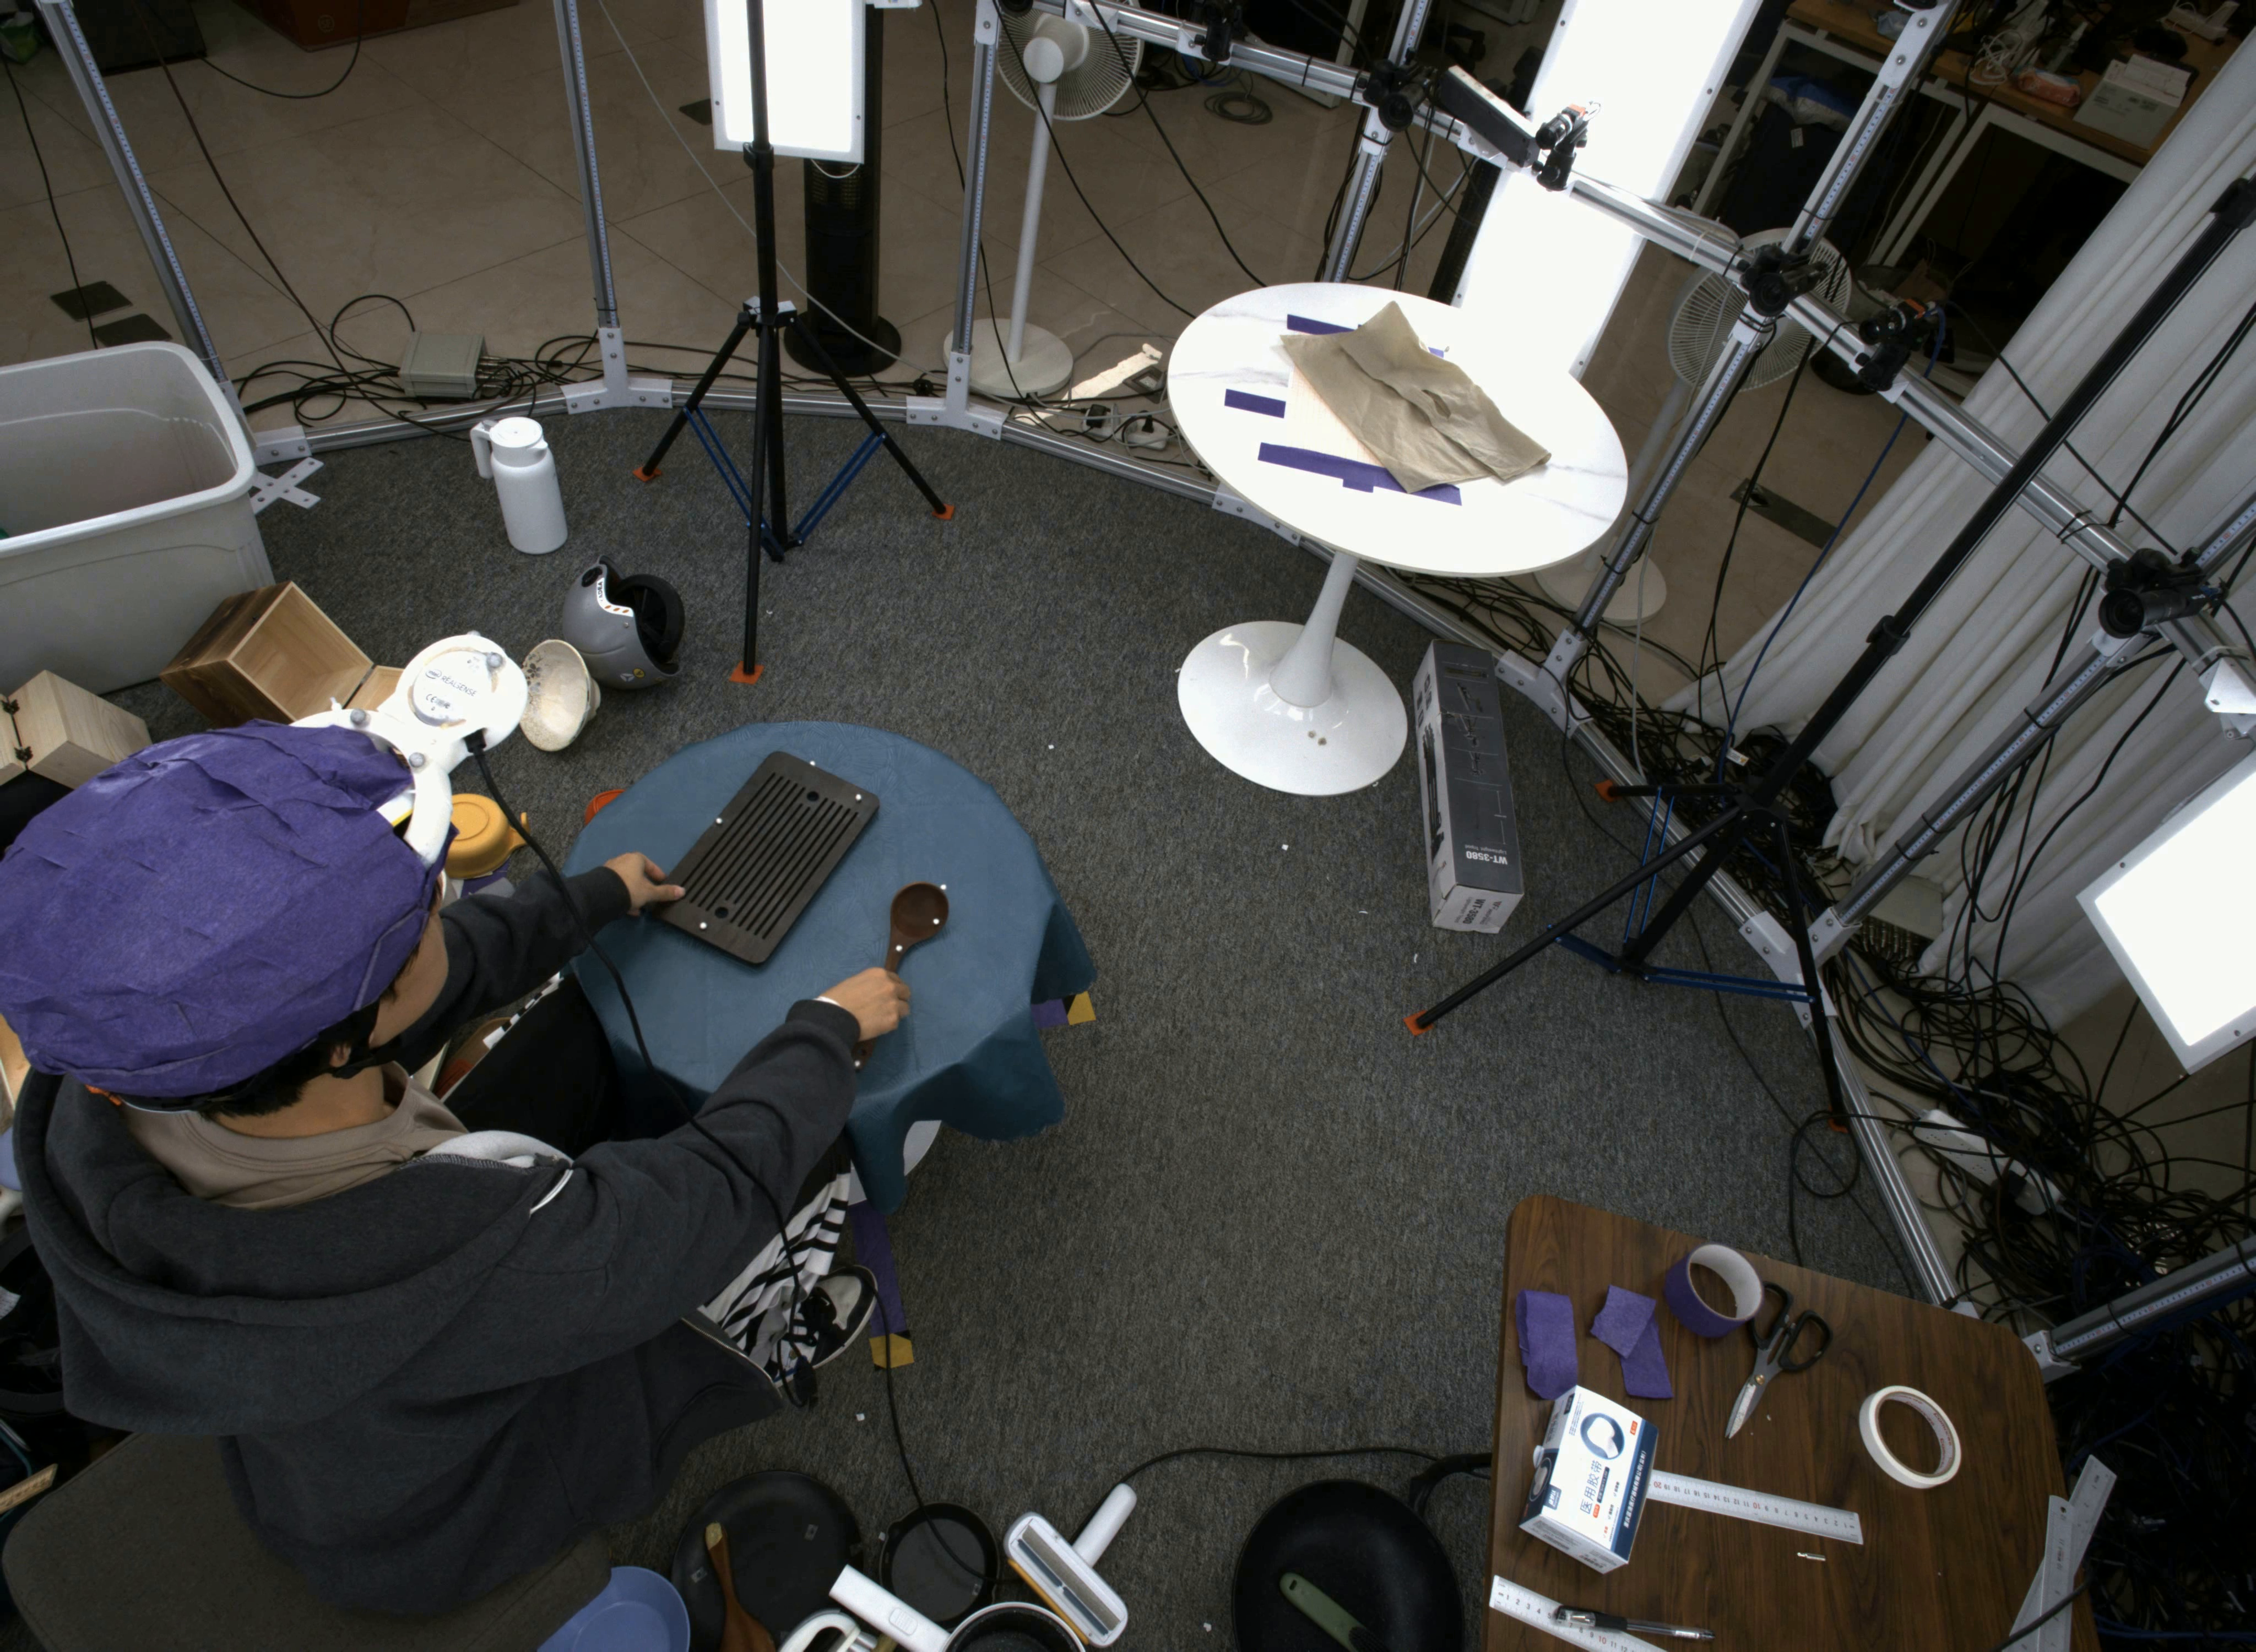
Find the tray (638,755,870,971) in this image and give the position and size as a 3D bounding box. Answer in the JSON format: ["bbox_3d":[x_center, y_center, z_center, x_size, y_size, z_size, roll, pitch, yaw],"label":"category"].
[{"bbox_3d":[-0.478,0.041,1.671,0.168,0.019,0.304,25,52,4],"label":"tray"}]

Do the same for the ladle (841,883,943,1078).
[{"bbox_3d":[-0.291,0.182,1.587,0.078,0.064,0.257,33,47,-22],"label":"ladle"}]
